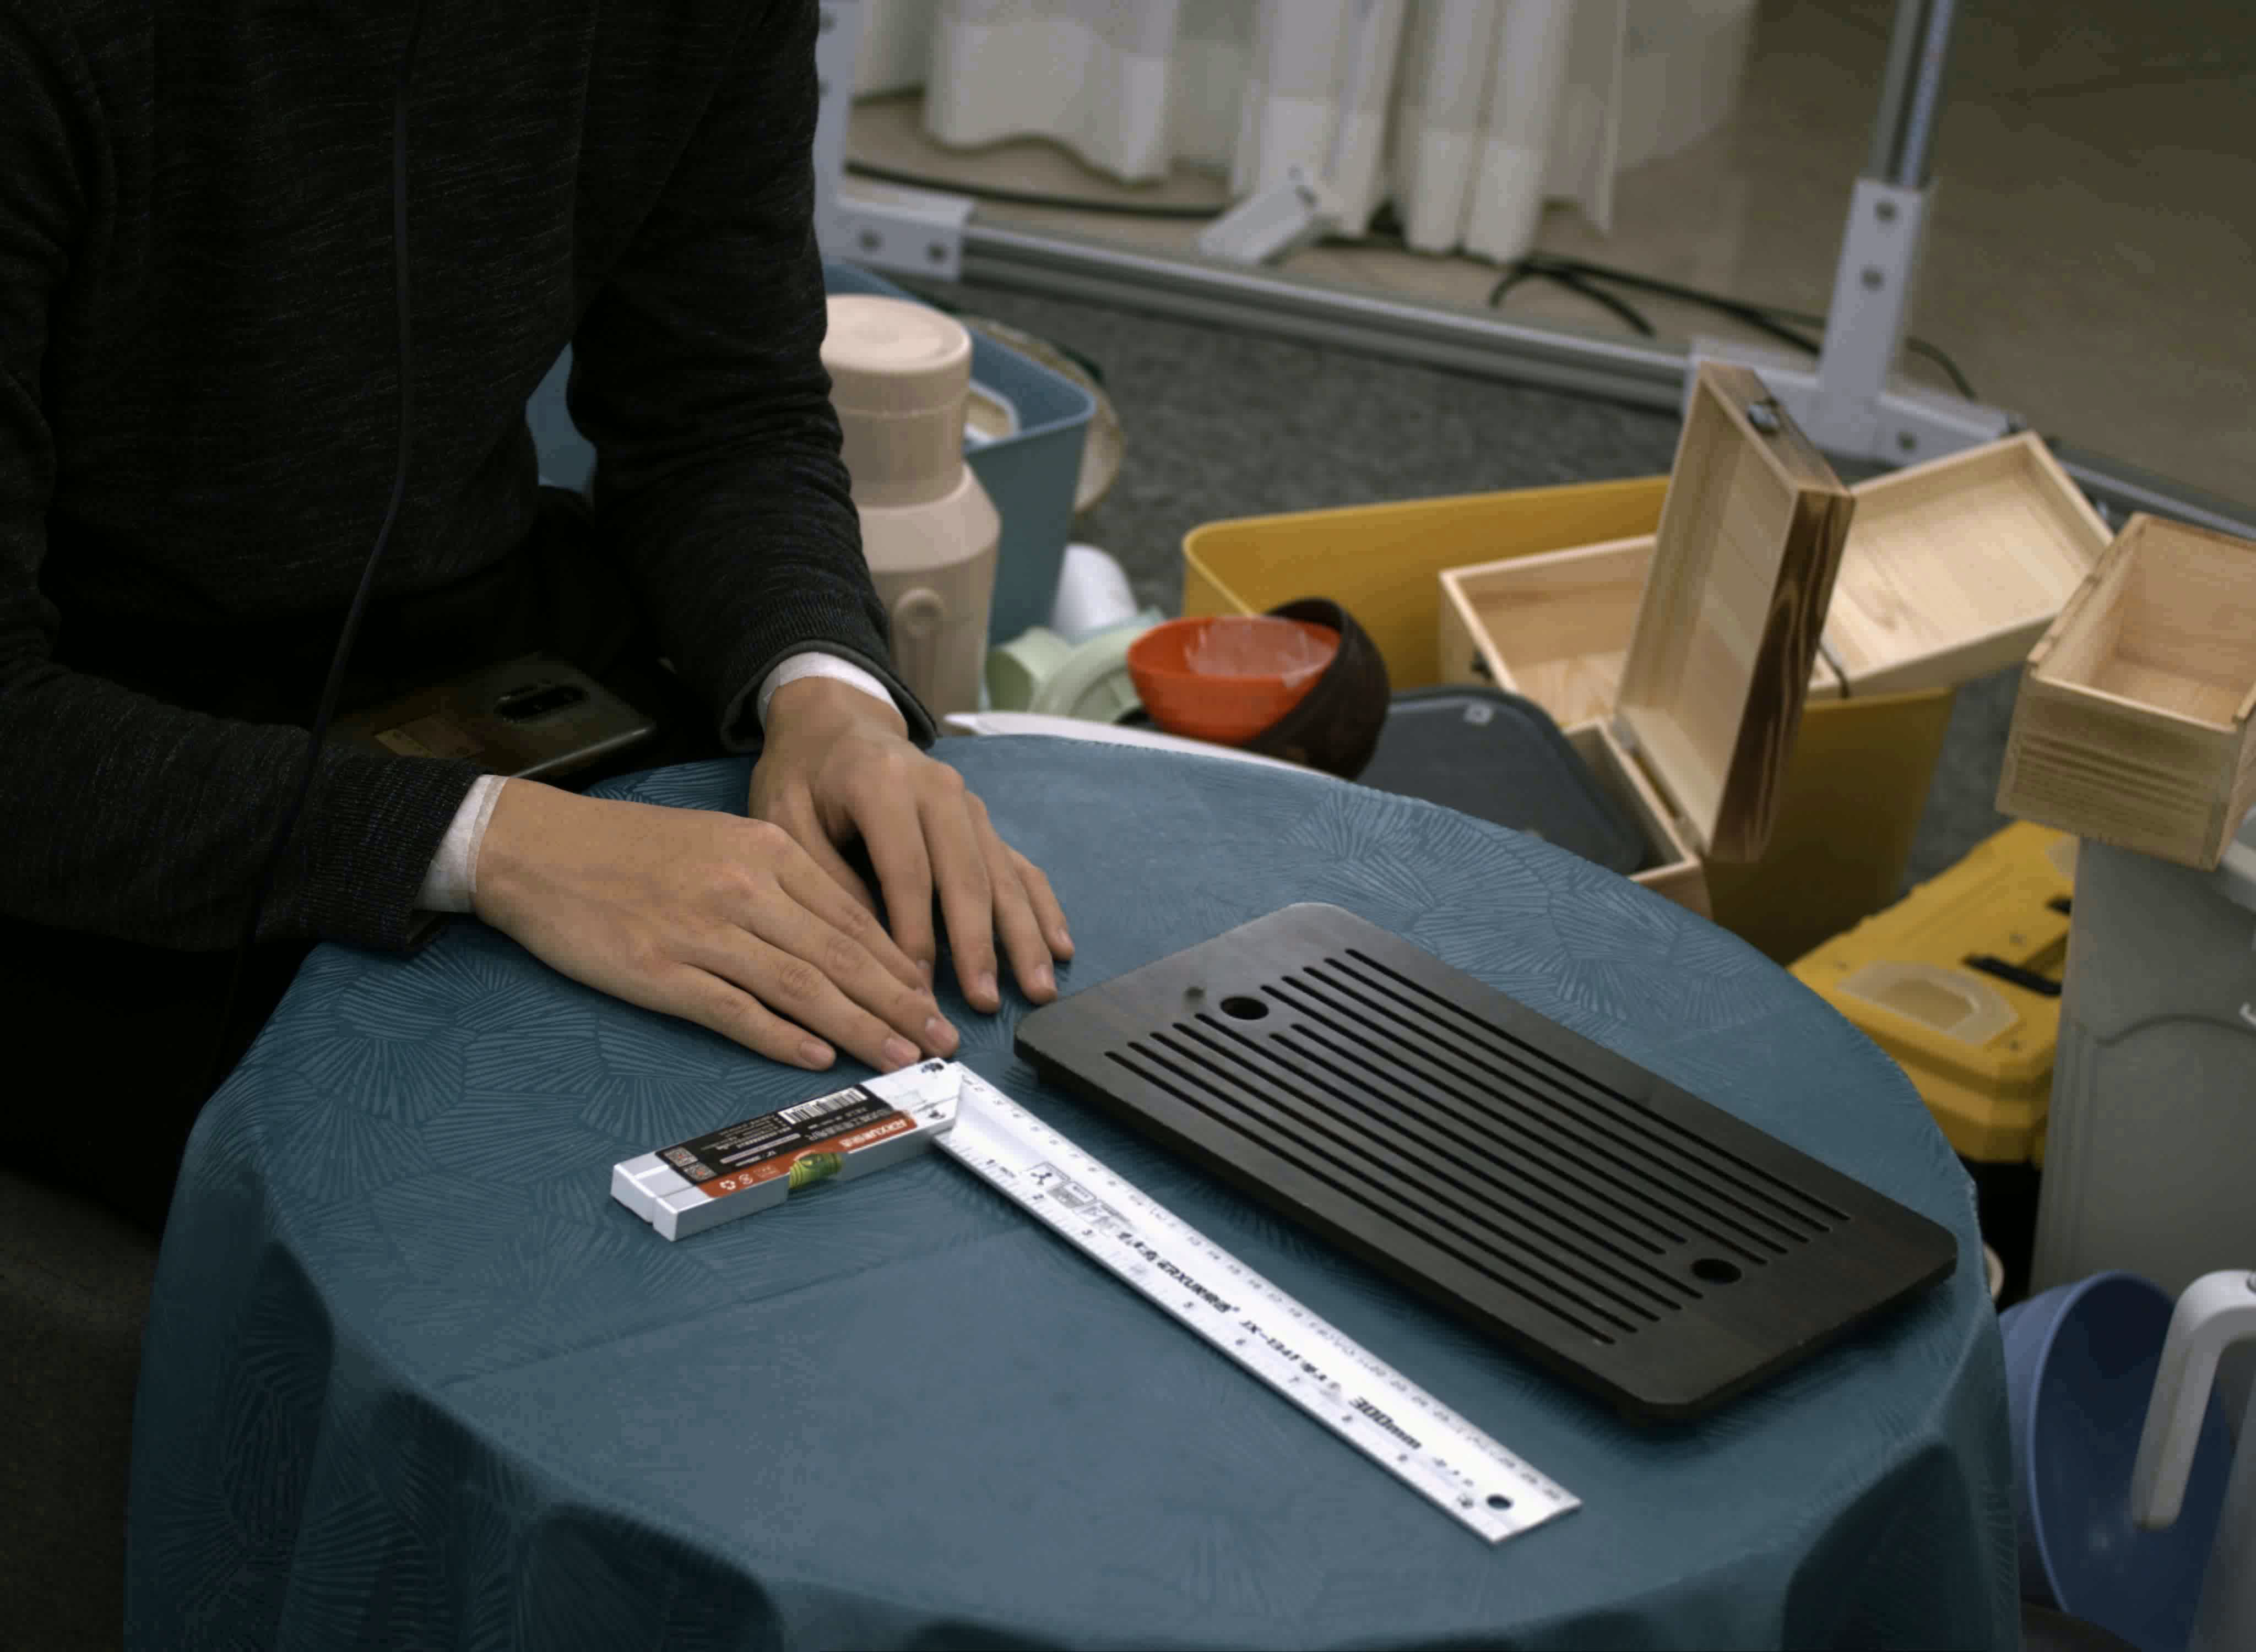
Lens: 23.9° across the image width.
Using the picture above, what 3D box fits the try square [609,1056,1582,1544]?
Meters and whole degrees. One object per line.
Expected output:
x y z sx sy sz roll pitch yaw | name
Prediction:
-0.016 0.163 1.711 0.151 0.016 0.315 -17 36 -38 | try square

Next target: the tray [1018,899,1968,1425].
0.122 0.112 1.832 0.308 0.018 0.169 28 34 36 | tray
